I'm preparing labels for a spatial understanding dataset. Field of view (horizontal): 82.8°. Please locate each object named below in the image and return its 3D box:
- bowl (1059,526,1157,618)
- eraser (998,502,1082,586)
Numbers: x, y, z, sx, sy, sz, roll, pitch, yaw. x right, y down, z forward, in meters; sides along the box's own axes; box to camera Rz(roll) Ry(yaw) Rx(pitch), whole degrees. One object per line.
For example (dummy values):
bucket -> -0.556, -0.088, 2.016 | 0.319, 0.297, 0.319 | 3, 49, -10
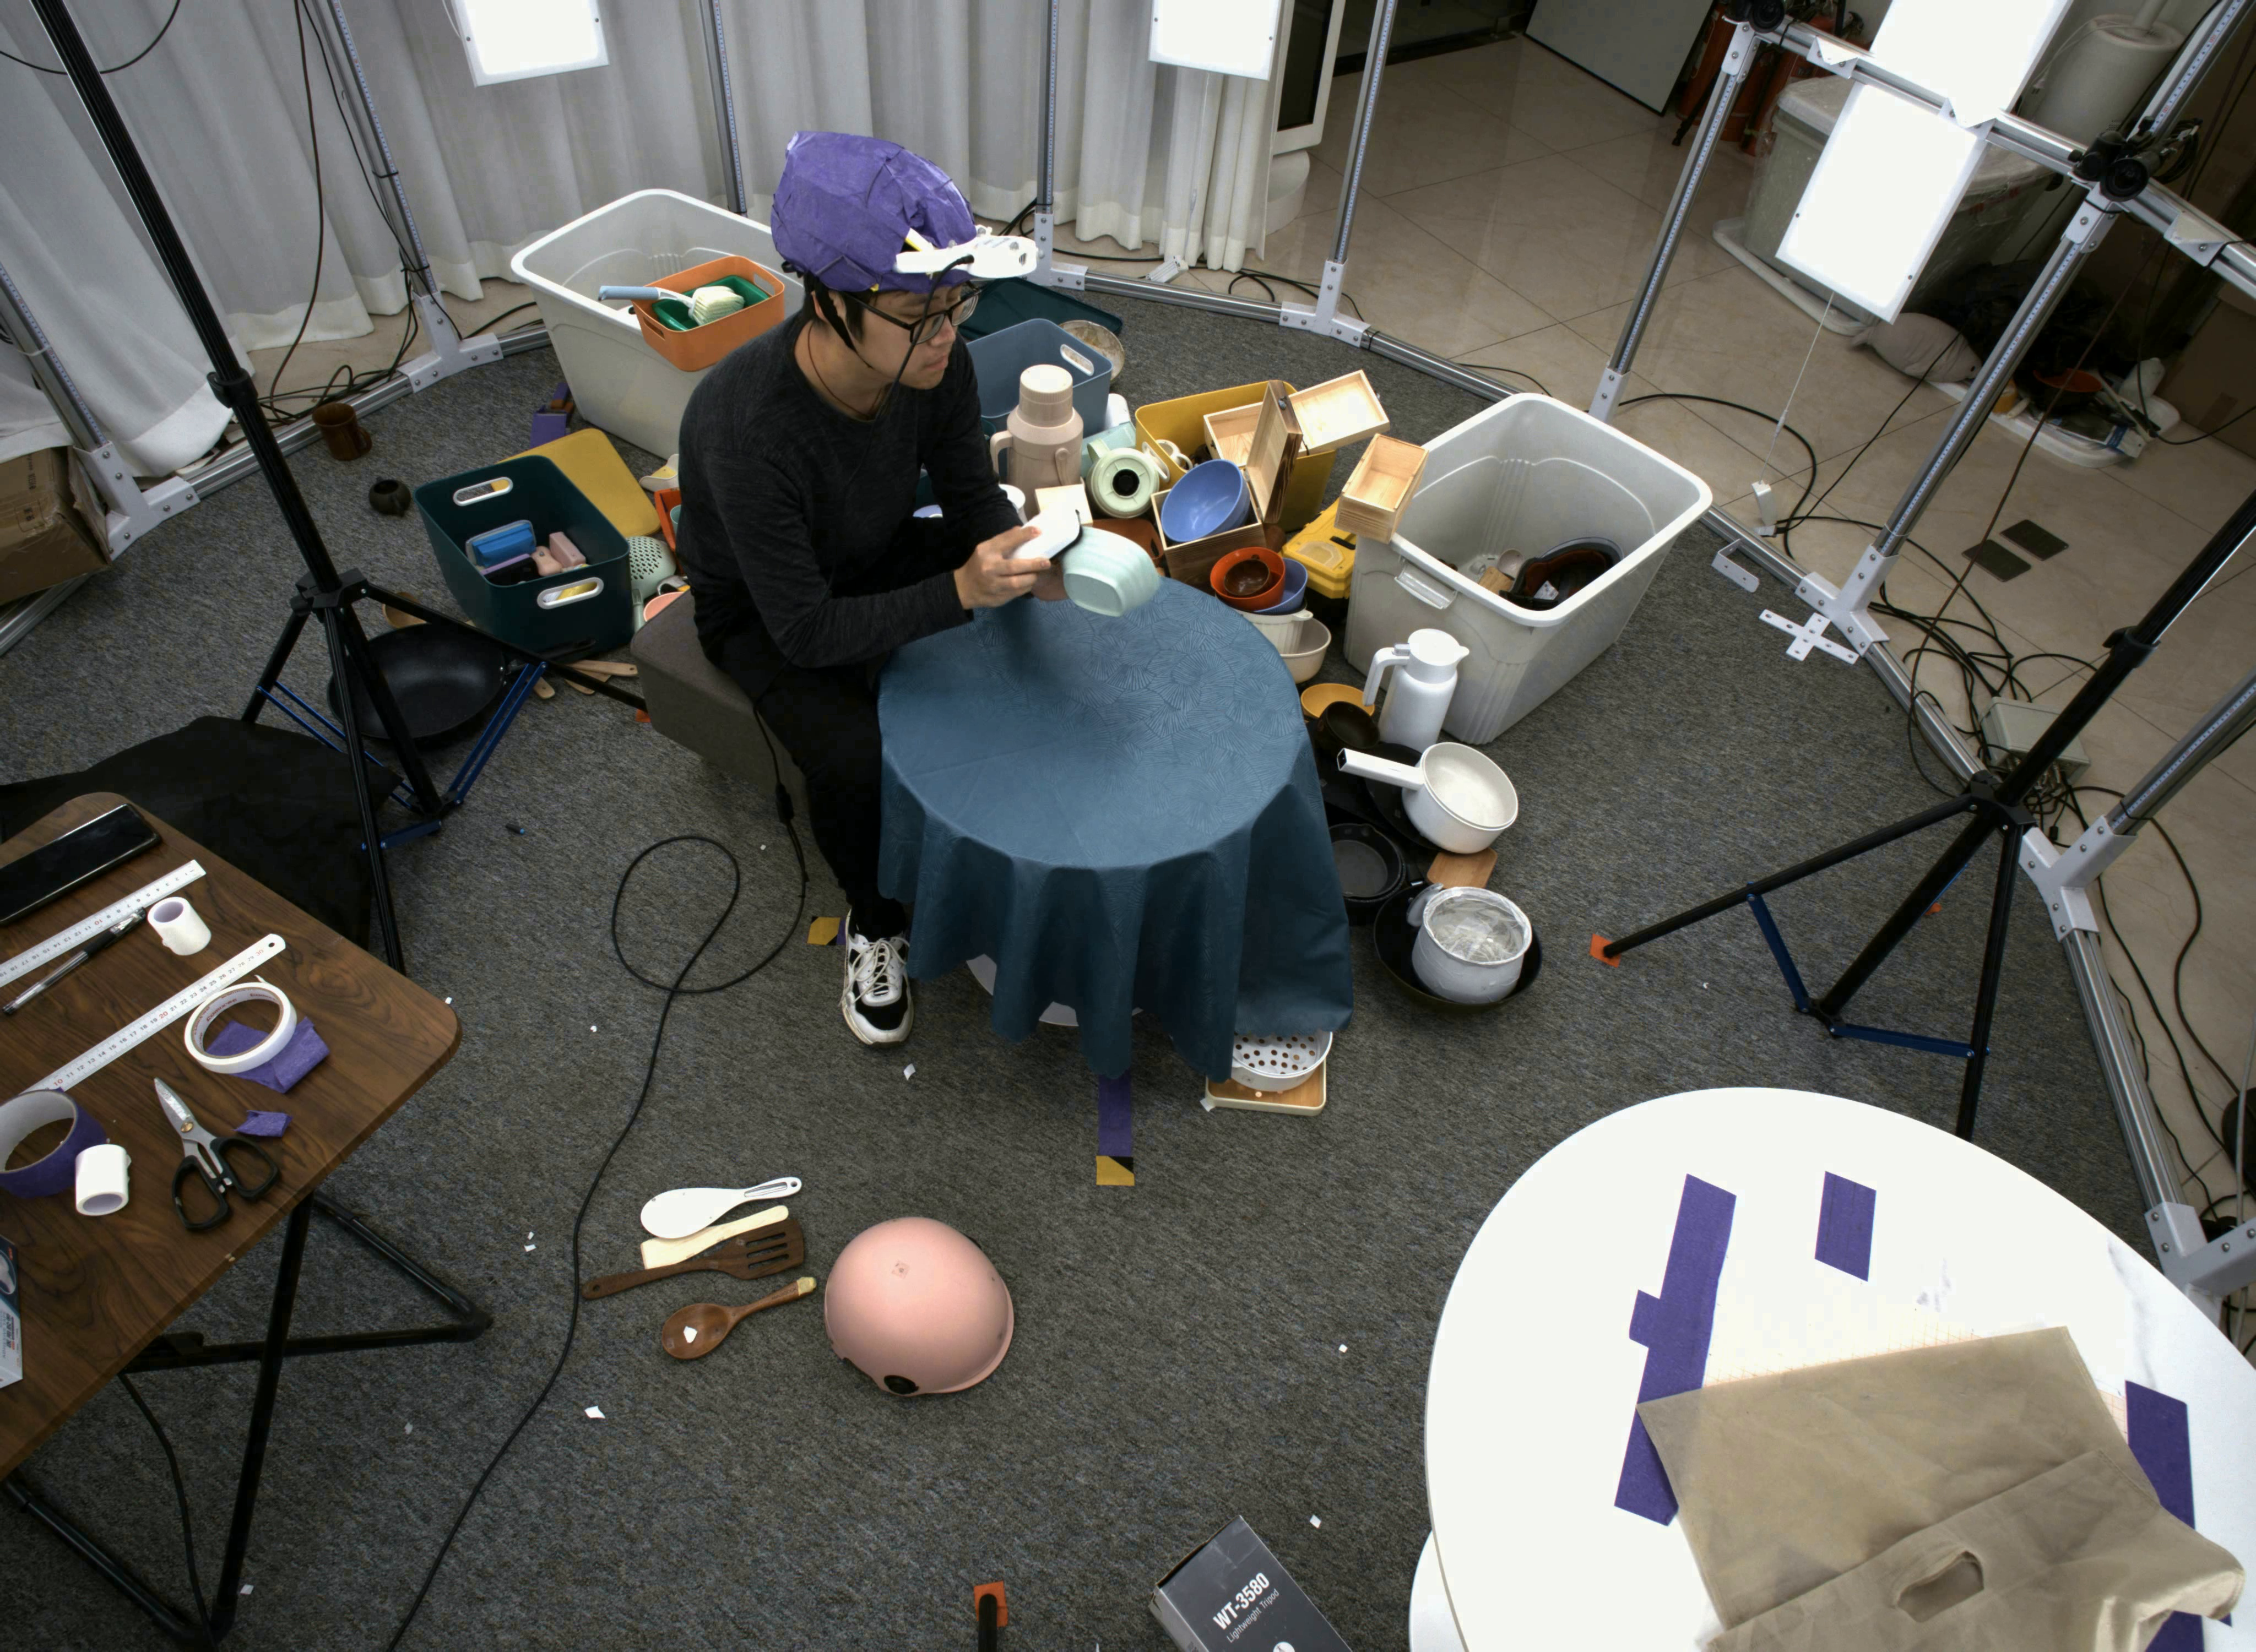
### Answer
bowl -> -0.036, -0.328, 1.712 | 0.152, 0.148, 0.059 | 22, 69, 14
eraser -> -0.118, -0.371, 1.696 | 0.034, 0.130, 0.065 | 26, 45, -45
